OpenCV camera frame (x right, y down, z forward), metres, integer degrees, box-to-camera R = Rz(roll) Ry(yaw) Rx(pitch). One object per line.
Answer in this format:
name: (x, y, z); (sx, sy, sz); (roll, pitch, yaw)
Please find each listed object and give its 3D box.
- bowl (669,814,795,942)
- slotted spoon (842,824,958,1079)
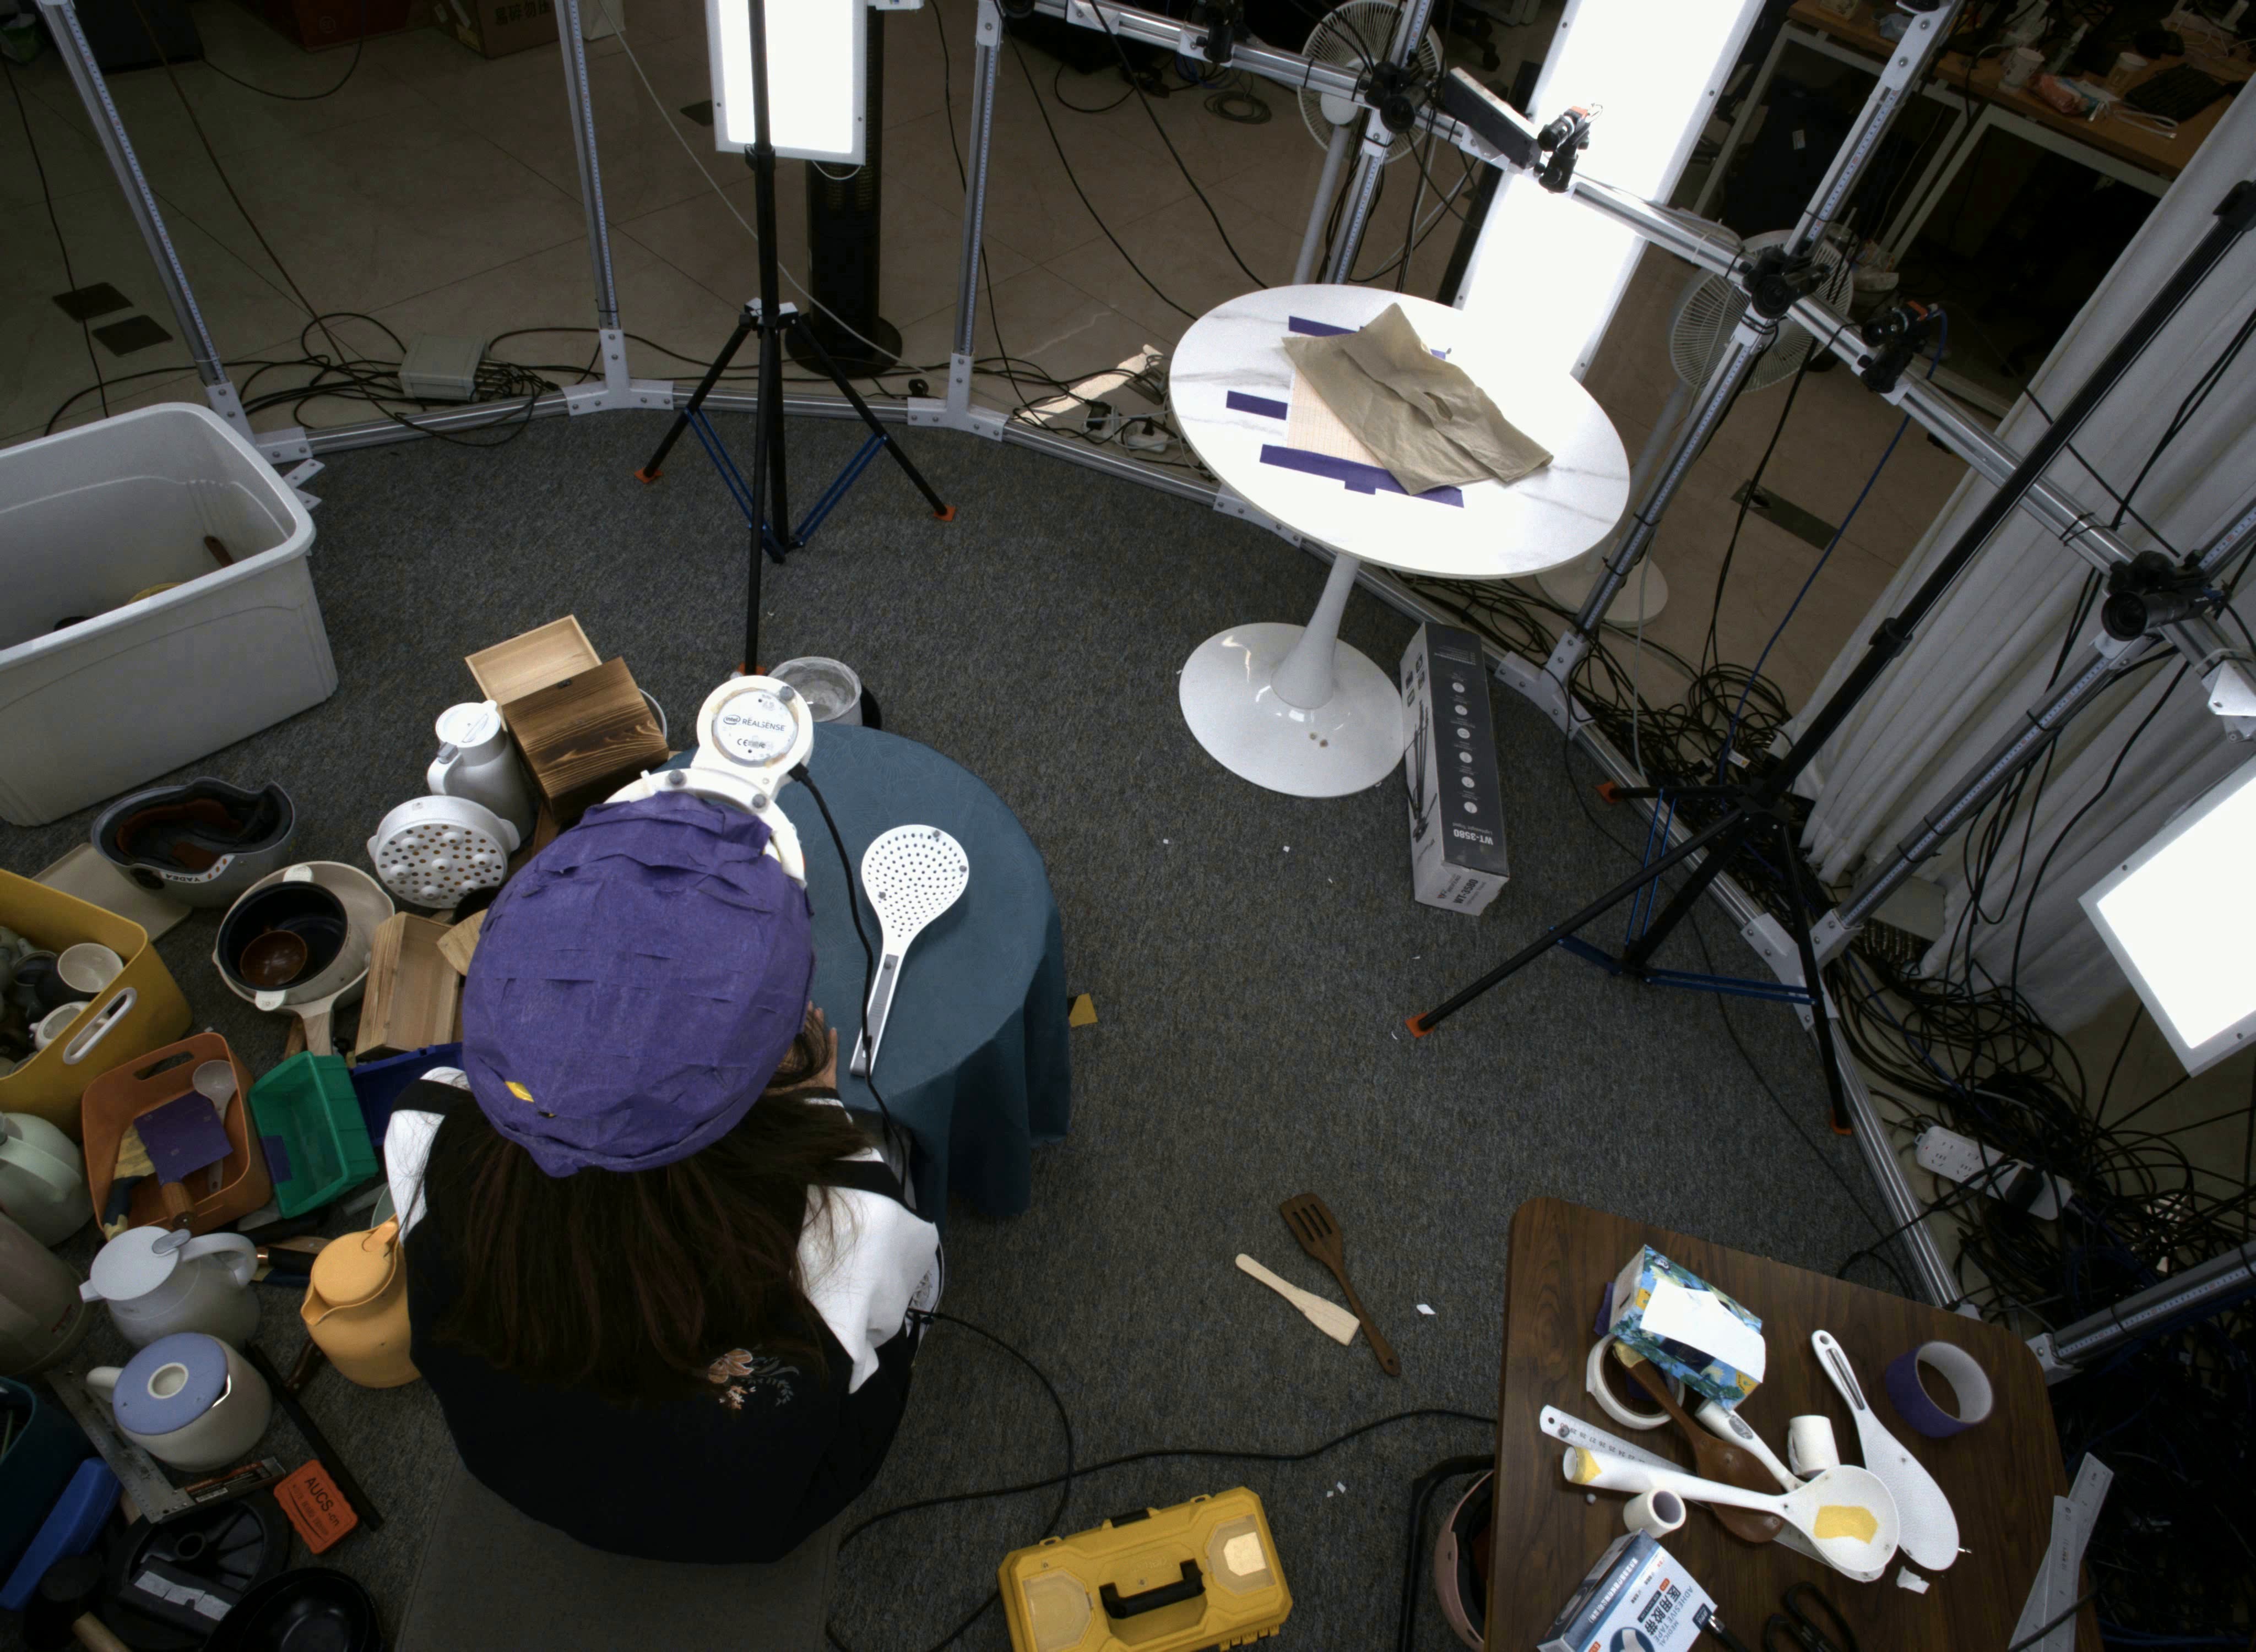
bowl: (-0.483, 0.074, 1.583); (0.148, 0.106, 0.145); (9, 52, -10)
slotted spoon: (-0.299, 0.147, 1.613); (0.135, 0.047, 0.344); (11, 53, -4)
